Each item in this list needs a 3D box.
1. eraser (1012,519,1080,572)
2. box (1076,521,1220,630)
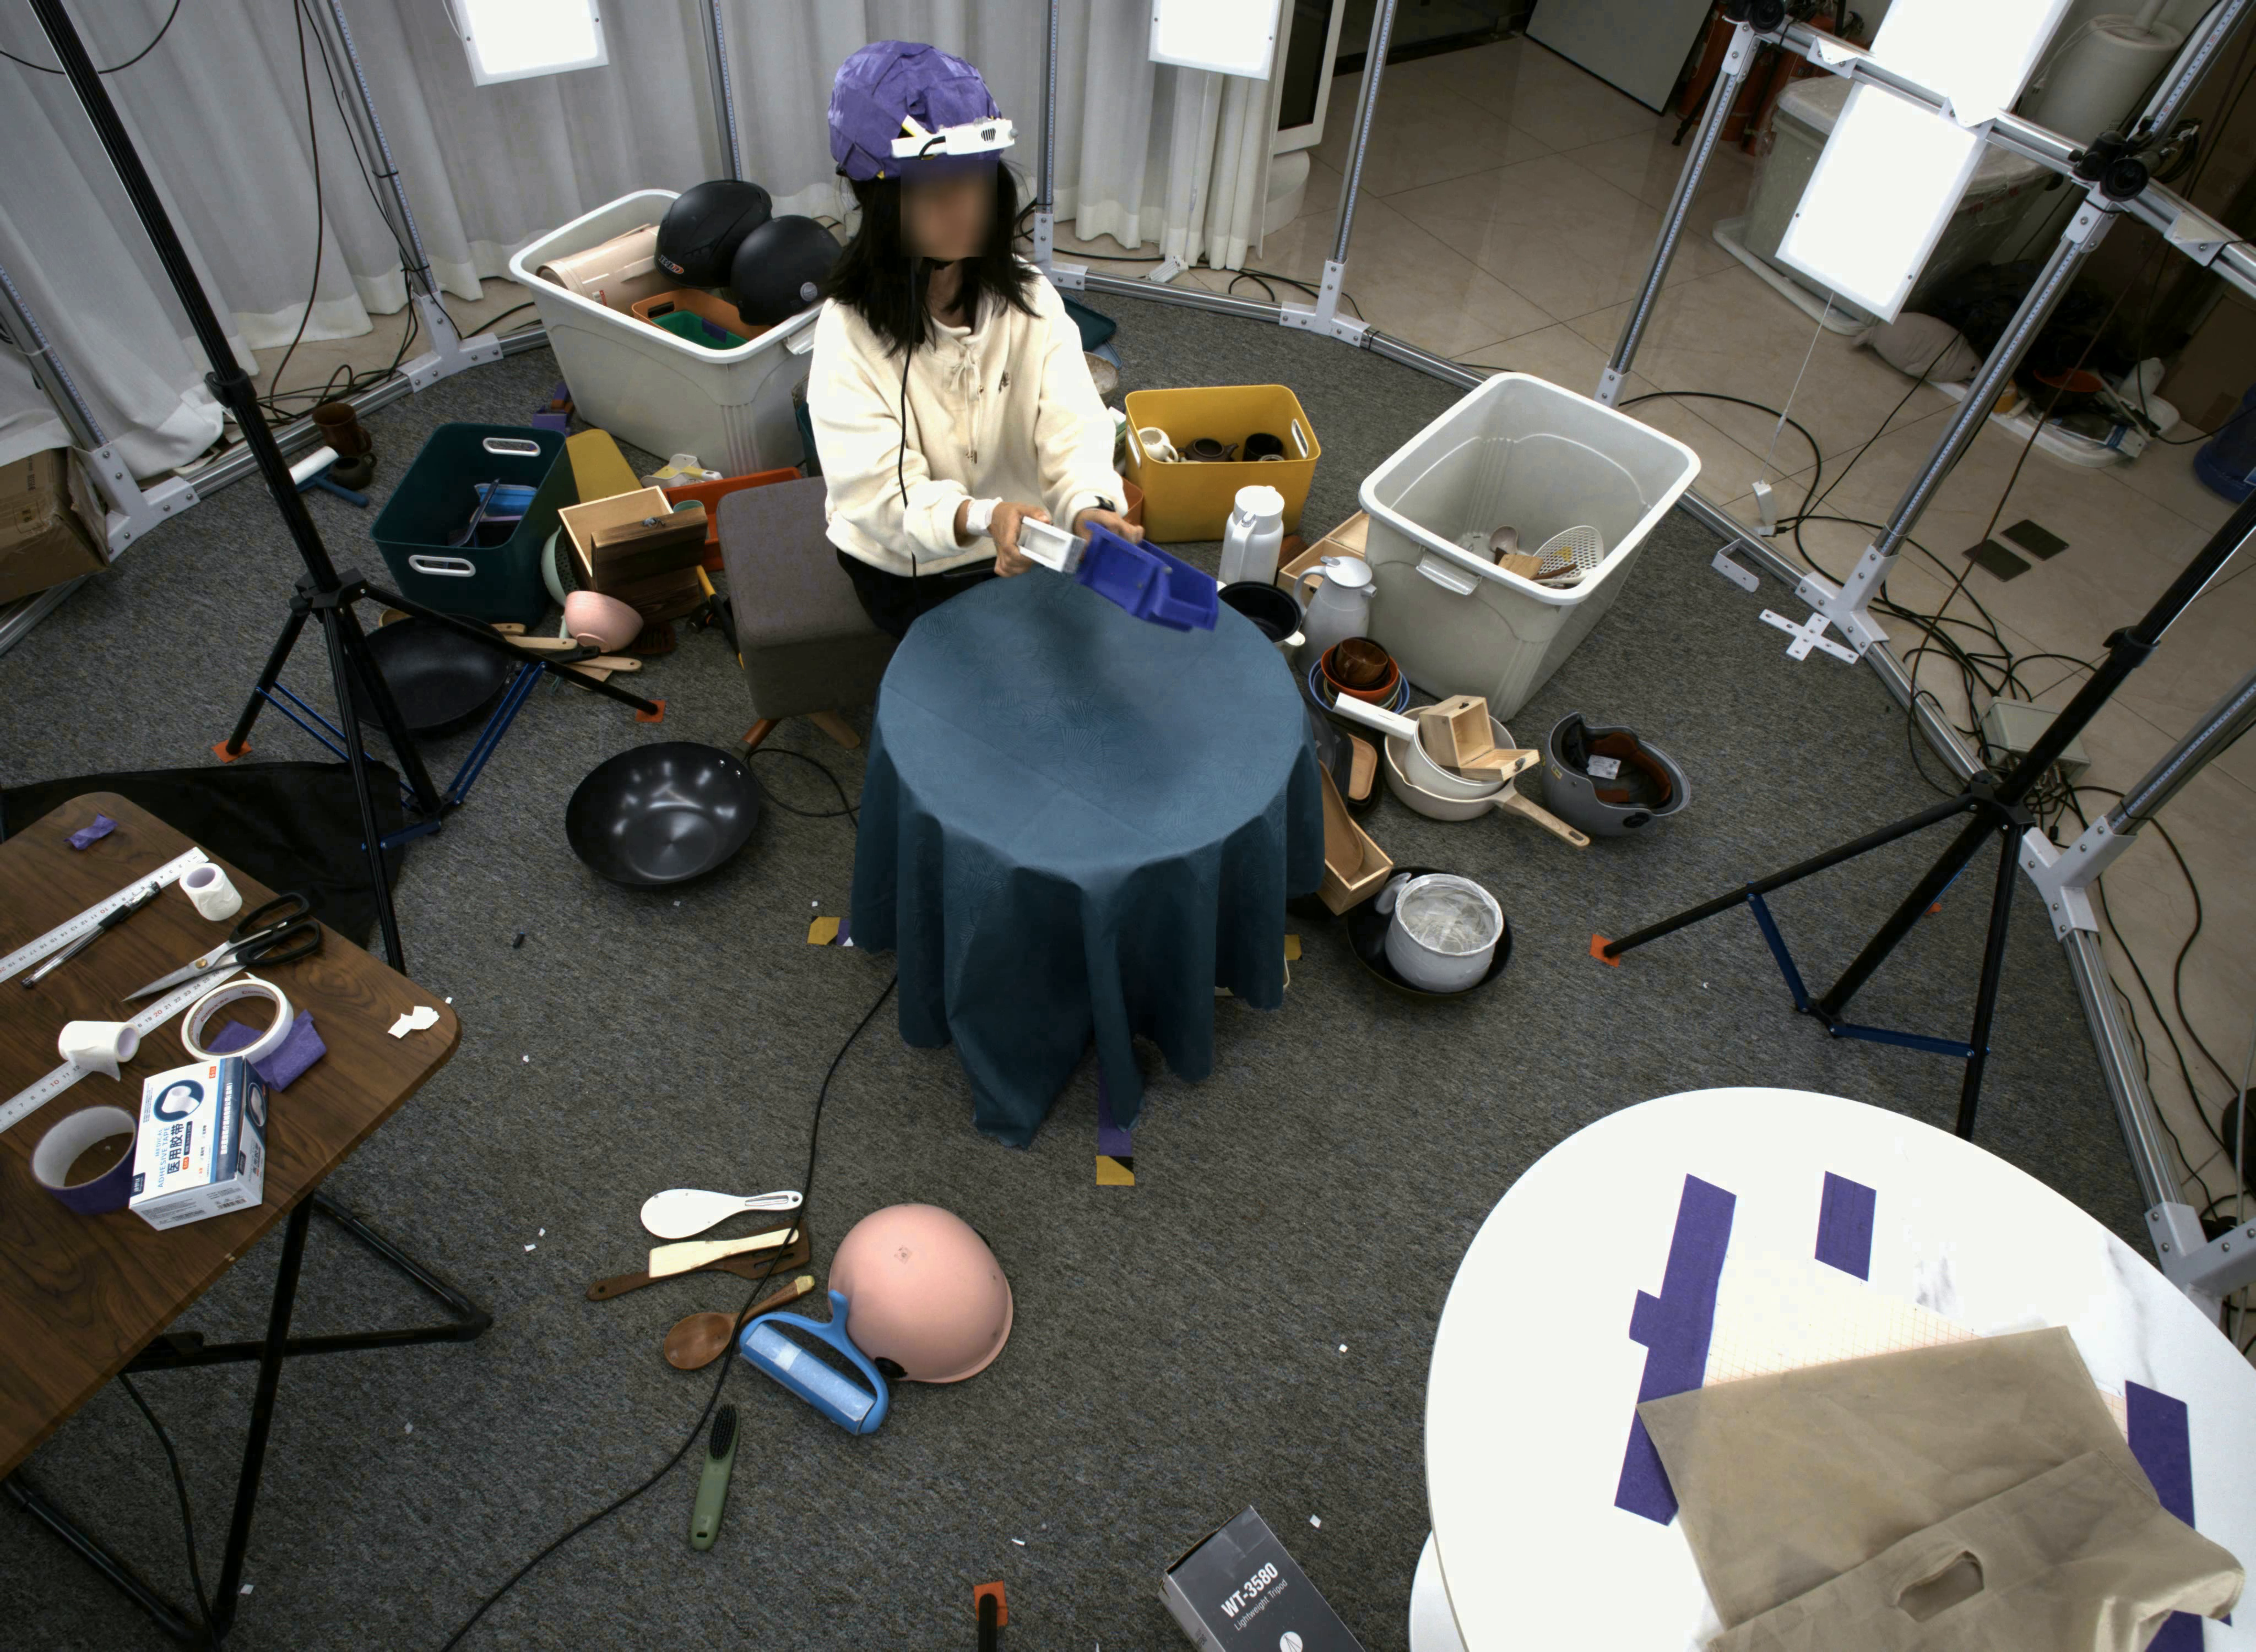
[{"bbox_3d":[-0.109,-0.370,1.695,0.046,0.049,0.136,13,11,-26],"label":"eraser"},{"bbox_3d":[0.029,-0.325,1.706,0.123,0.081,0.182,7,21,-47],"label":"box"}]
